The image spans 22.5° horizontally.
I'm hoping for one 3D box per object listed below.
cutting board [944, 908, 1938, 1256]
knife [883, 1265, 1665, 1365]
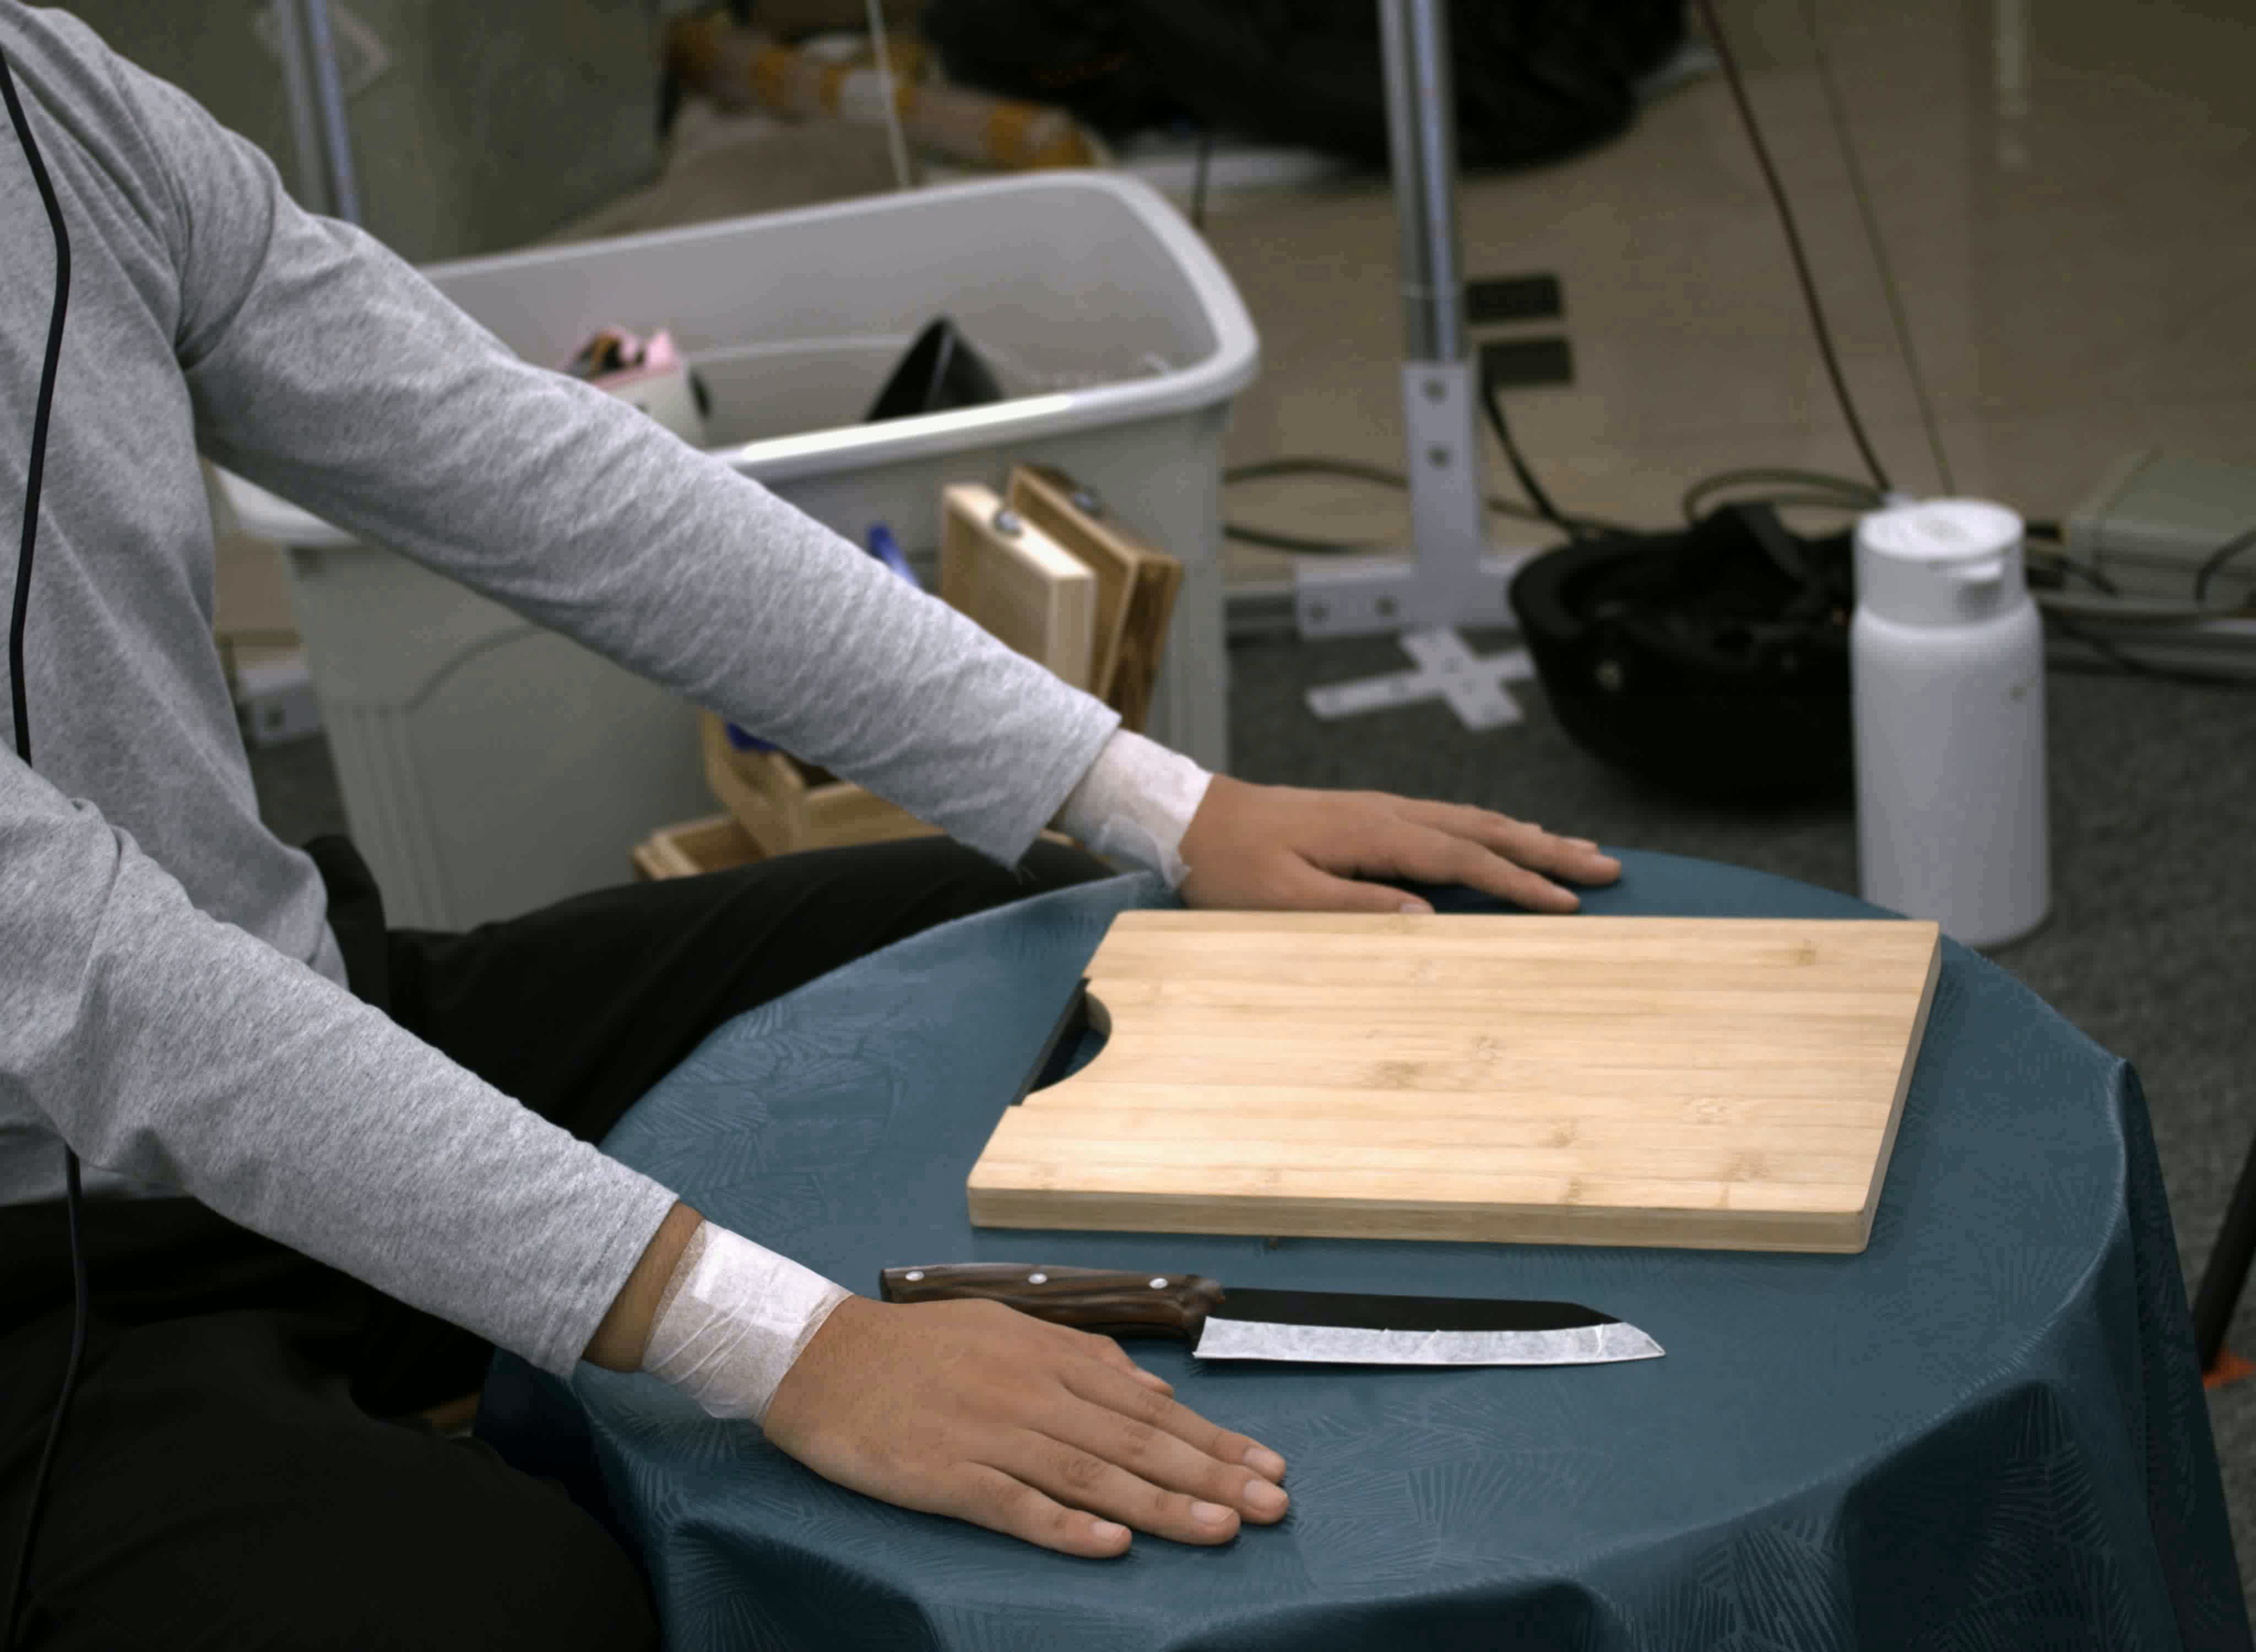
[{"bbox_3d":[0.126,0.095,2.196,0.348,0.024,0.247,0,25,15],"label":"cutting board"},{"bbox_3d":[0.049,0.178,2.038,0.288,0.020,0.049,2,31,13],"label":"knife"}]
